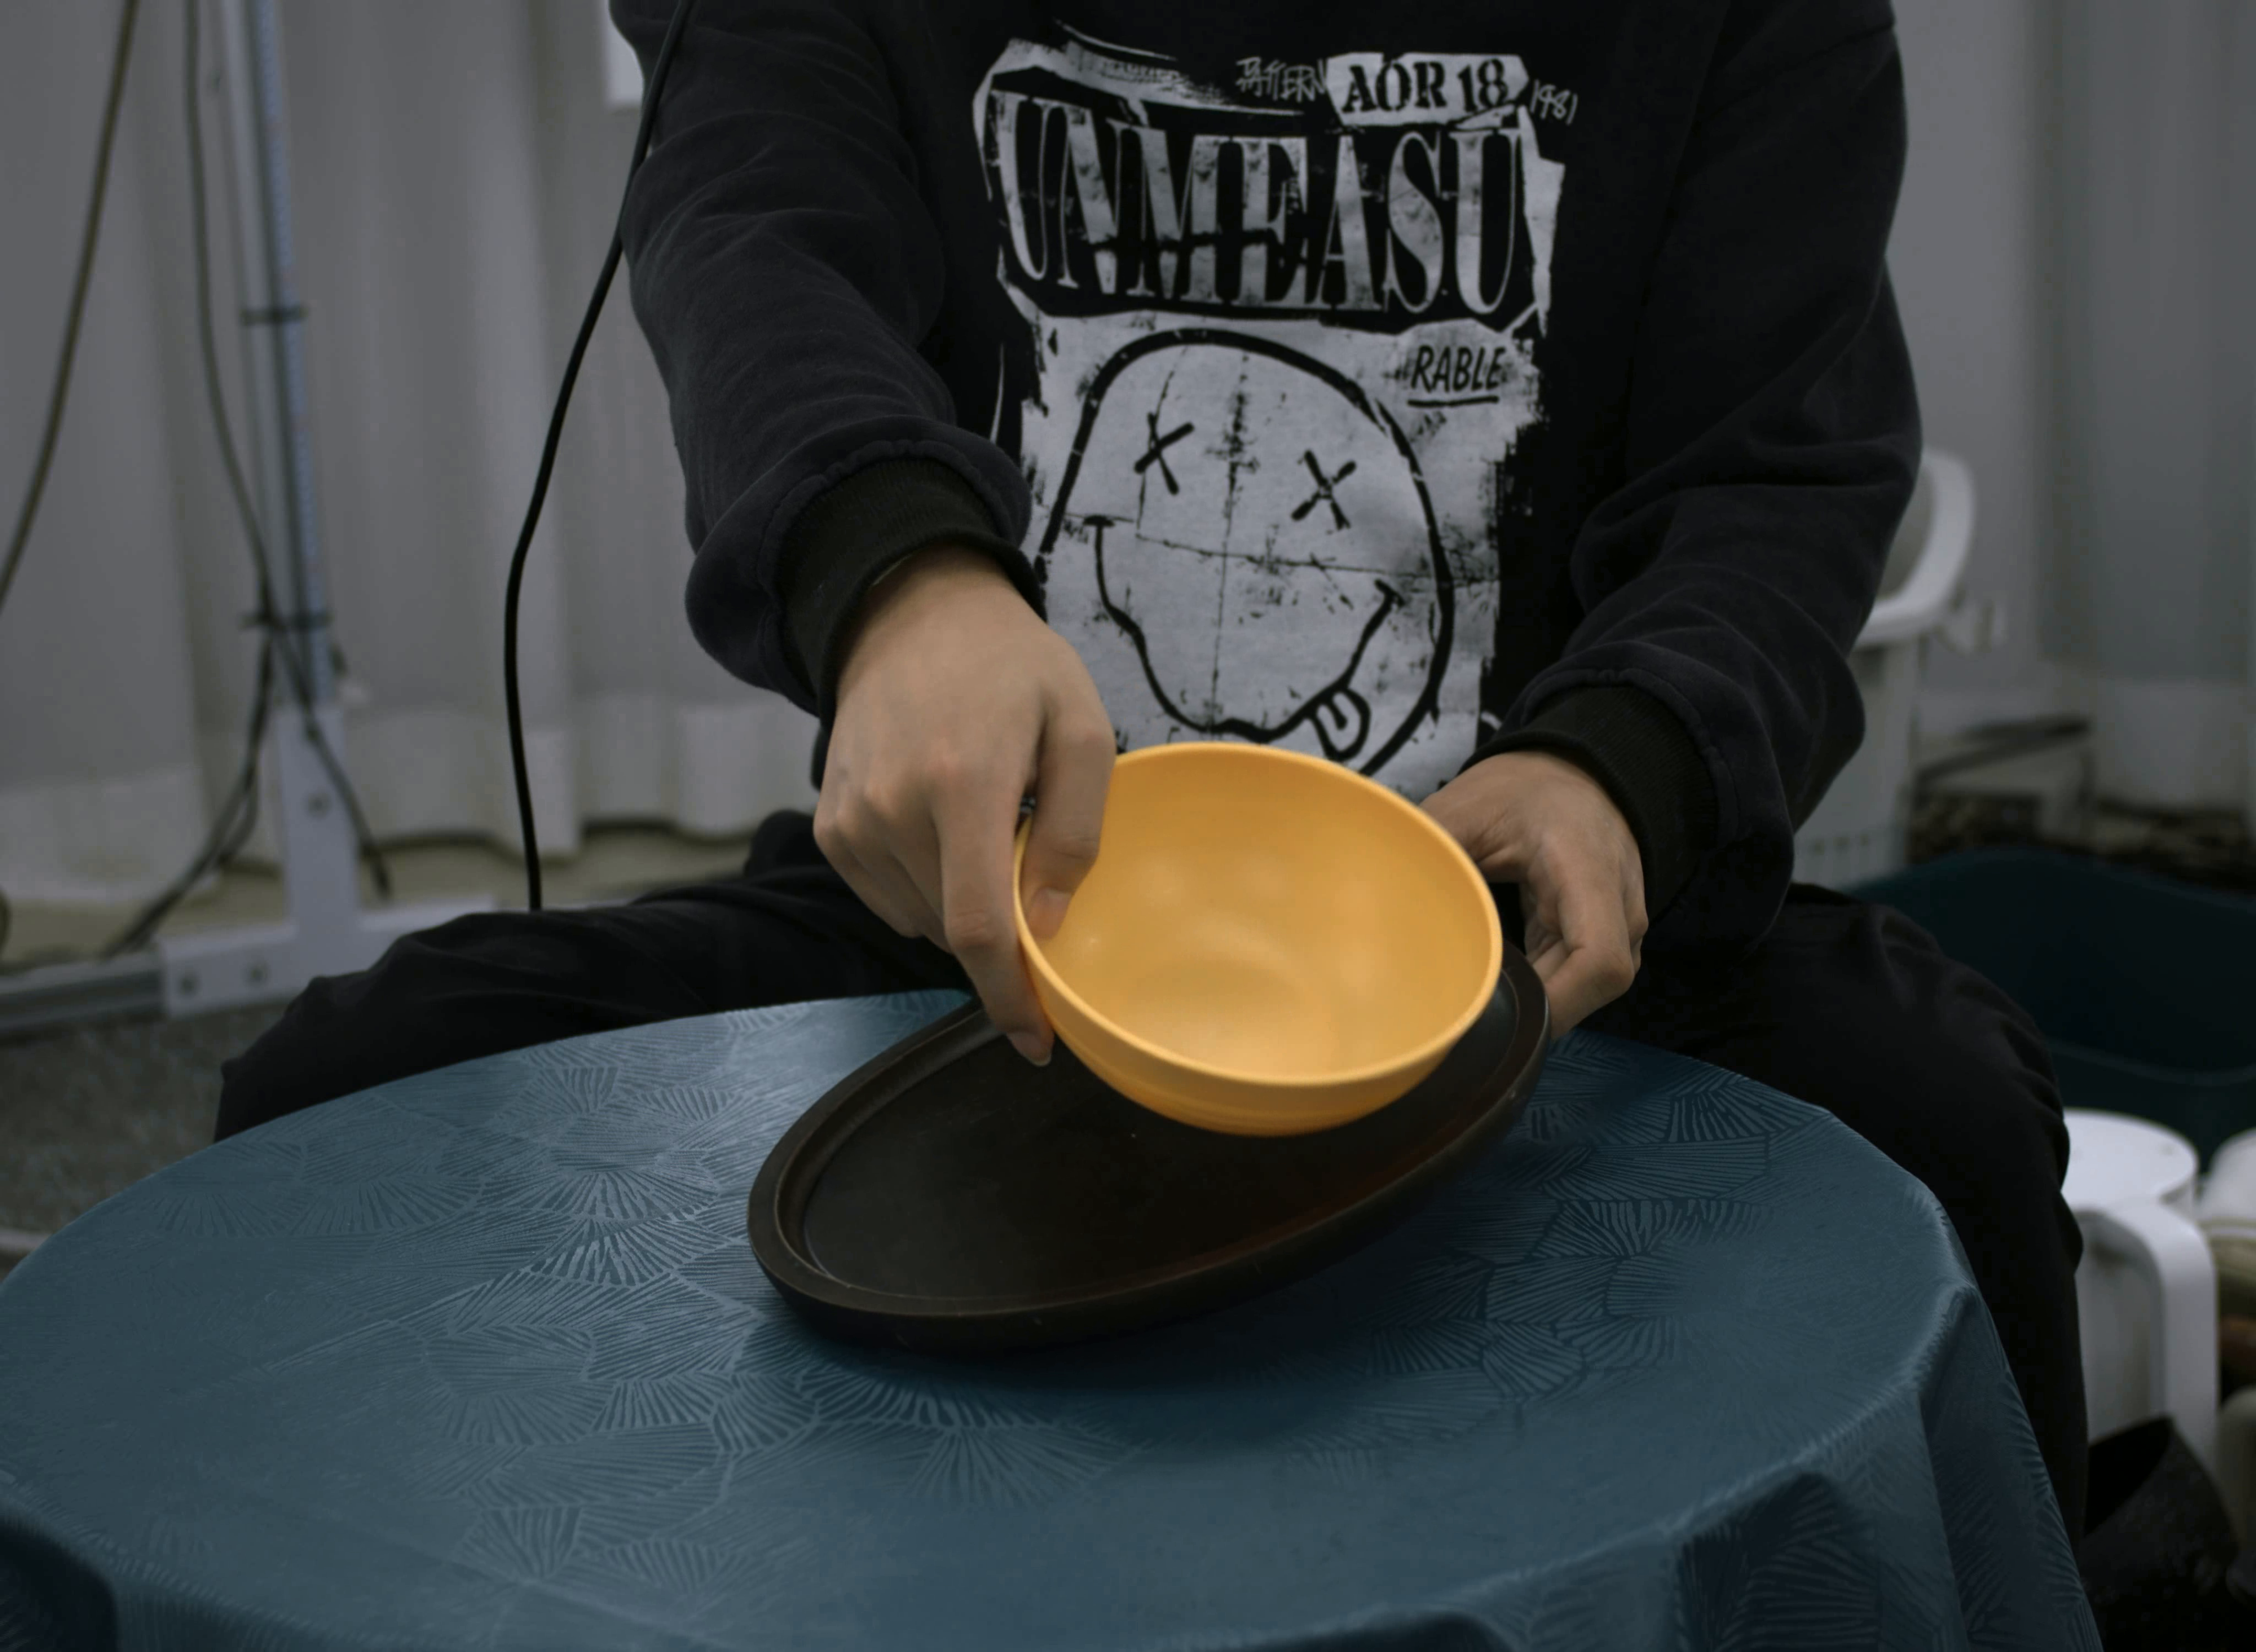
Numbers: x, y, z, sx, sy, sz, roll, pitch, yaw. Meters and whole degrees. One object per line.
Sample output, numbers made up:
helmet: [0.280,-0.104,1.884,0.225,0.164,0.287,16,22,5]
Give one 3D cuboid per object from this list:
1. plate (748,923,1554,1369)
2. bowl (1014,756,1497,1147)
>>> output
plate: [0.008,0.092,1.648,0.254,0.029,0.257,-17,20,6]
bowl: [0.031,0.048,1.589,0.144,0.059,0.147,9,38,-8]
